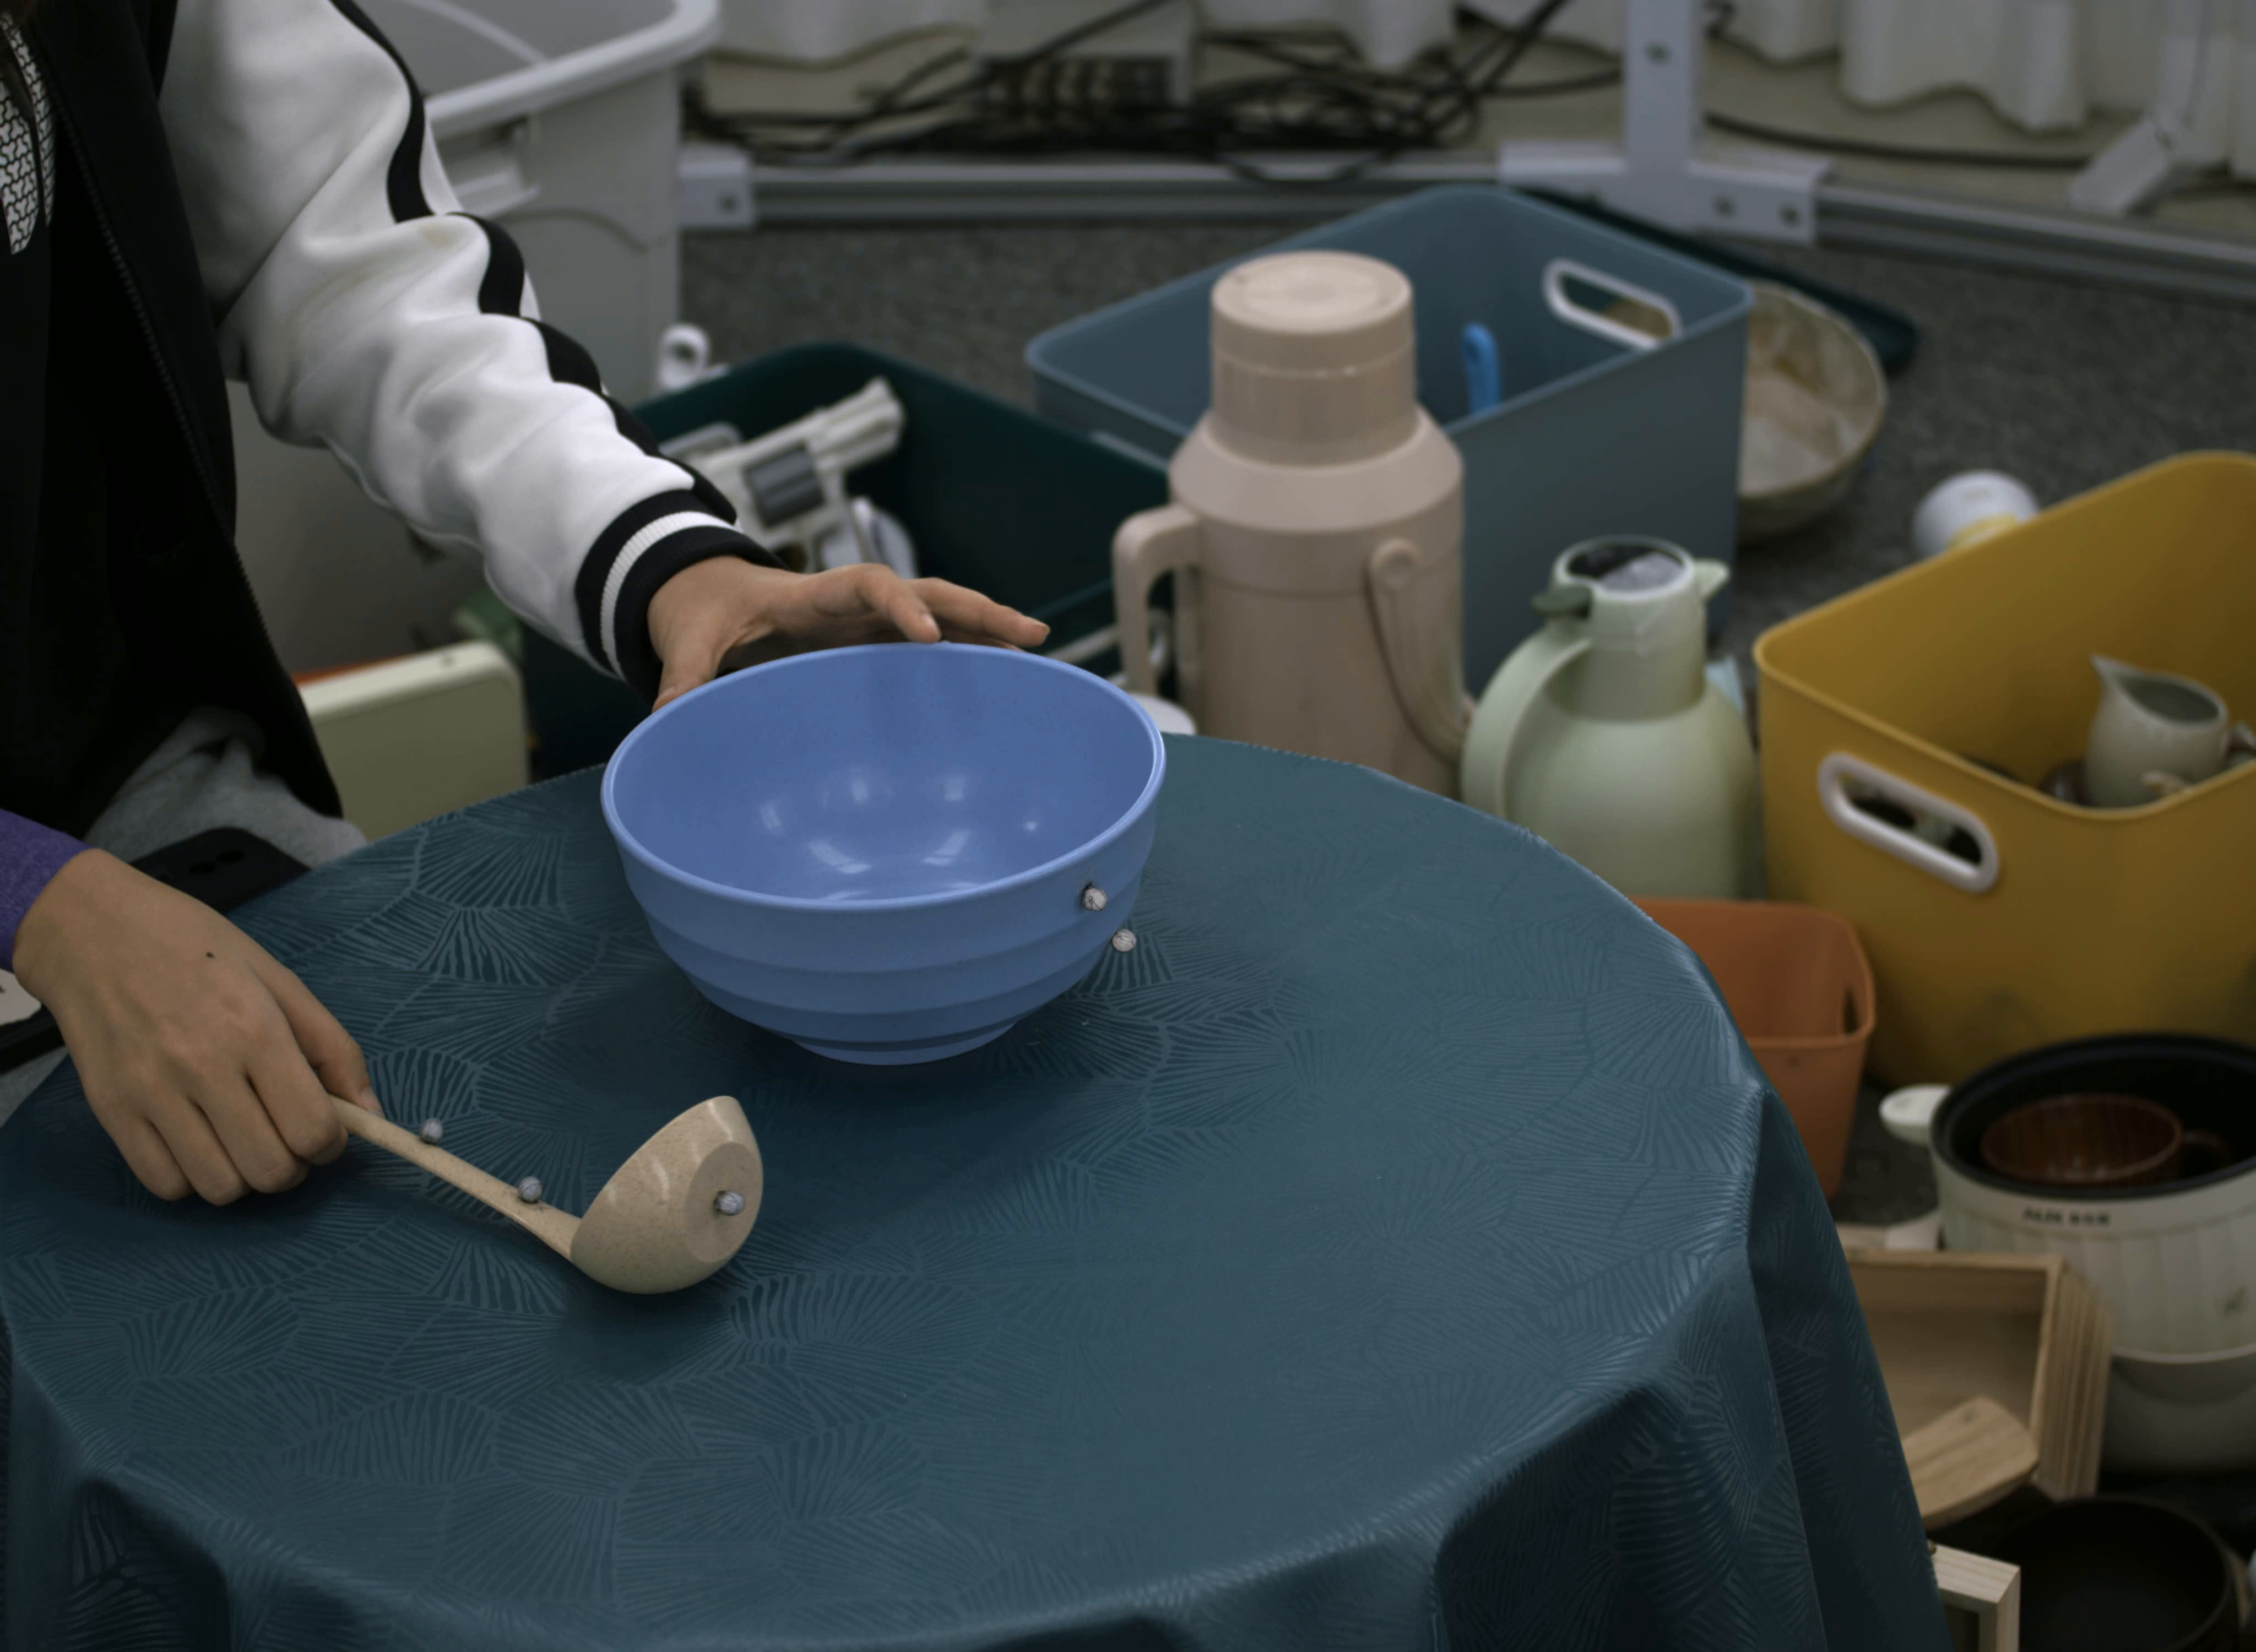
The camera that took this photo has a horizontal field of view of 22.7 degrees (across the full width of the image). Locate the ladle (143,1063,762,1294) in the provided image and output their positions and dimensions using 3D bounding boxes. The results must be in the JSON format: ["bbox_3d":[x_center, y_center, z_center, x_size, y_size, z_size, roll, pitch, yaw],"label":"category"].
[{"bbox_3d":[-0.231,0.089,1.859,0.253,0.072,0.073,19,27,30],"label":"ladle"}]

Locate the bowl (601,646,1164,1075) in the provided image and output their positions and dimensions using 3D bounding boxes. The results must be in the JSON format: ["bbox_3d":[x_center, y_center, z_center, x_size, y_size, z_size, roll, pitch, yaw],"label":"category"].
[{"bbox_3d":[-0.081,0.024,1.964,0.195,0.094,0.199,-3,28,2],"label":"bowl"}]
